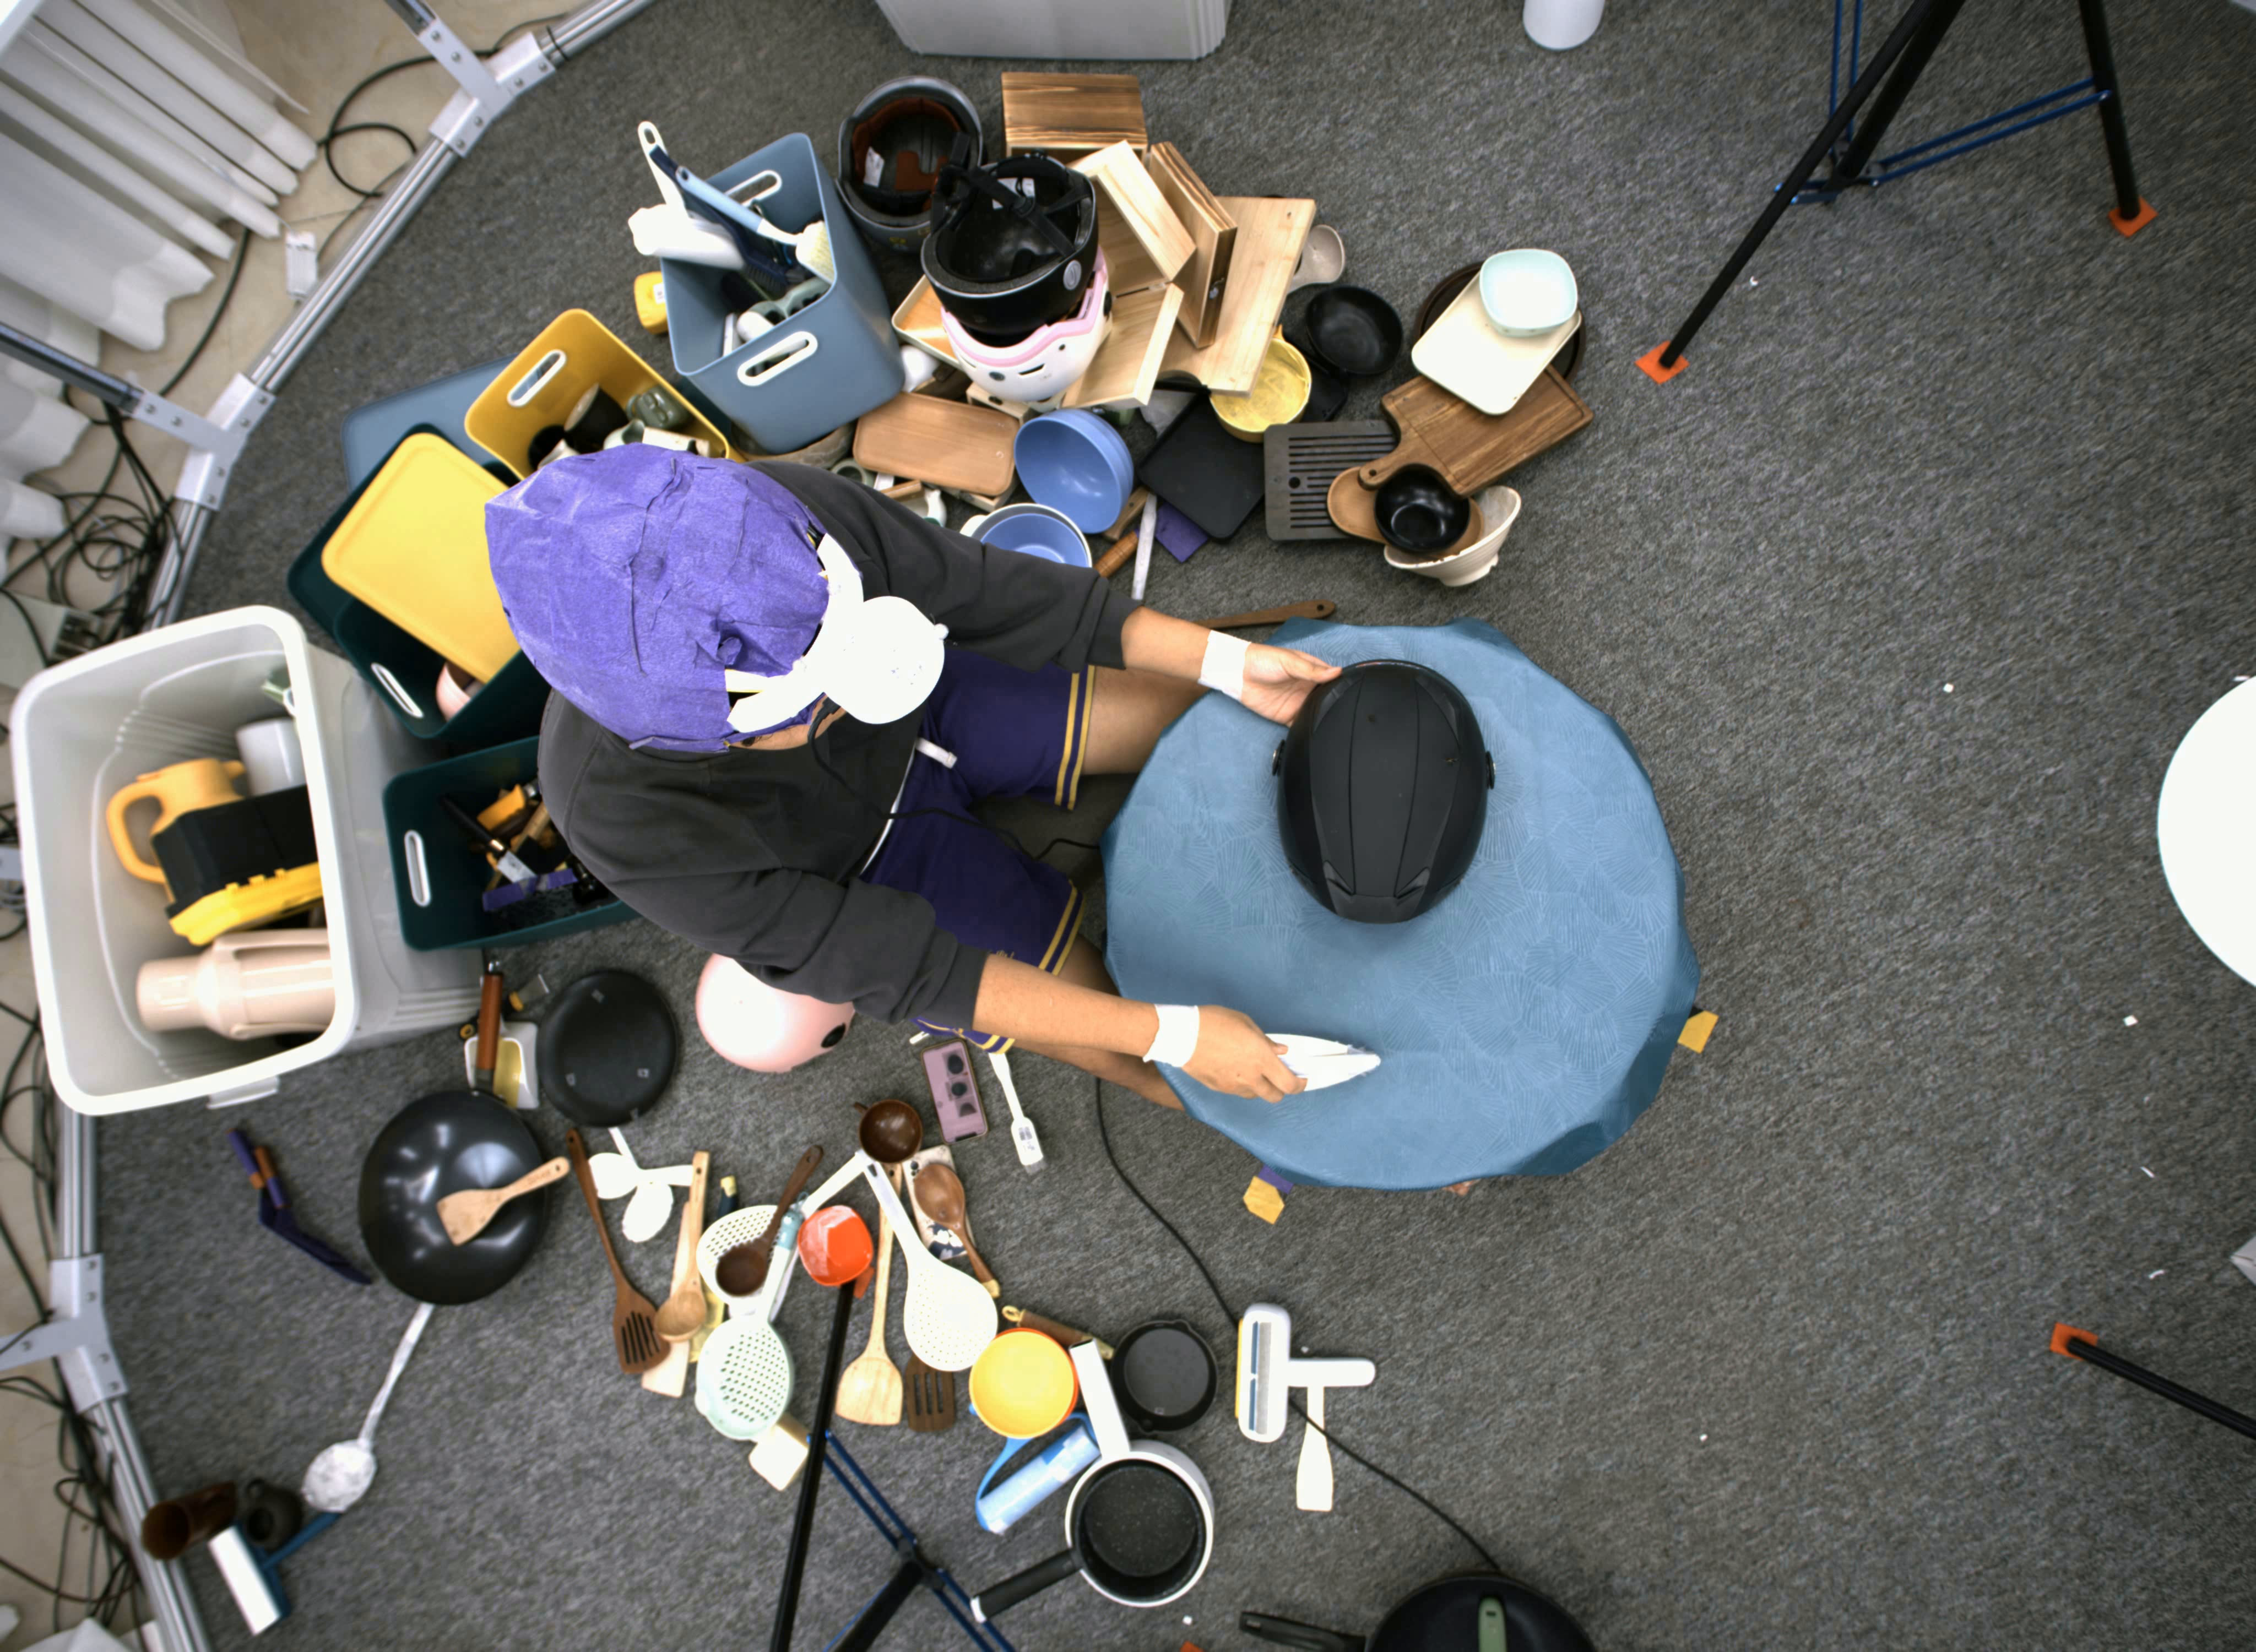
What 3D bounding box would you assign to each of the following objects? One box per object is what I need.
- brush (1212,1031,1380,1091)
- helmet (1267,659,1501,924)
[{"bbox_3d":[0.171,0.240,1.422,0.176,0.094,0.061,-3,86,8],"label":"brush"},{"bbox_3d":[0.258,-0.040,1.387,0.247,0.172,0.277,6,92,10],"label":"helmet"}]
